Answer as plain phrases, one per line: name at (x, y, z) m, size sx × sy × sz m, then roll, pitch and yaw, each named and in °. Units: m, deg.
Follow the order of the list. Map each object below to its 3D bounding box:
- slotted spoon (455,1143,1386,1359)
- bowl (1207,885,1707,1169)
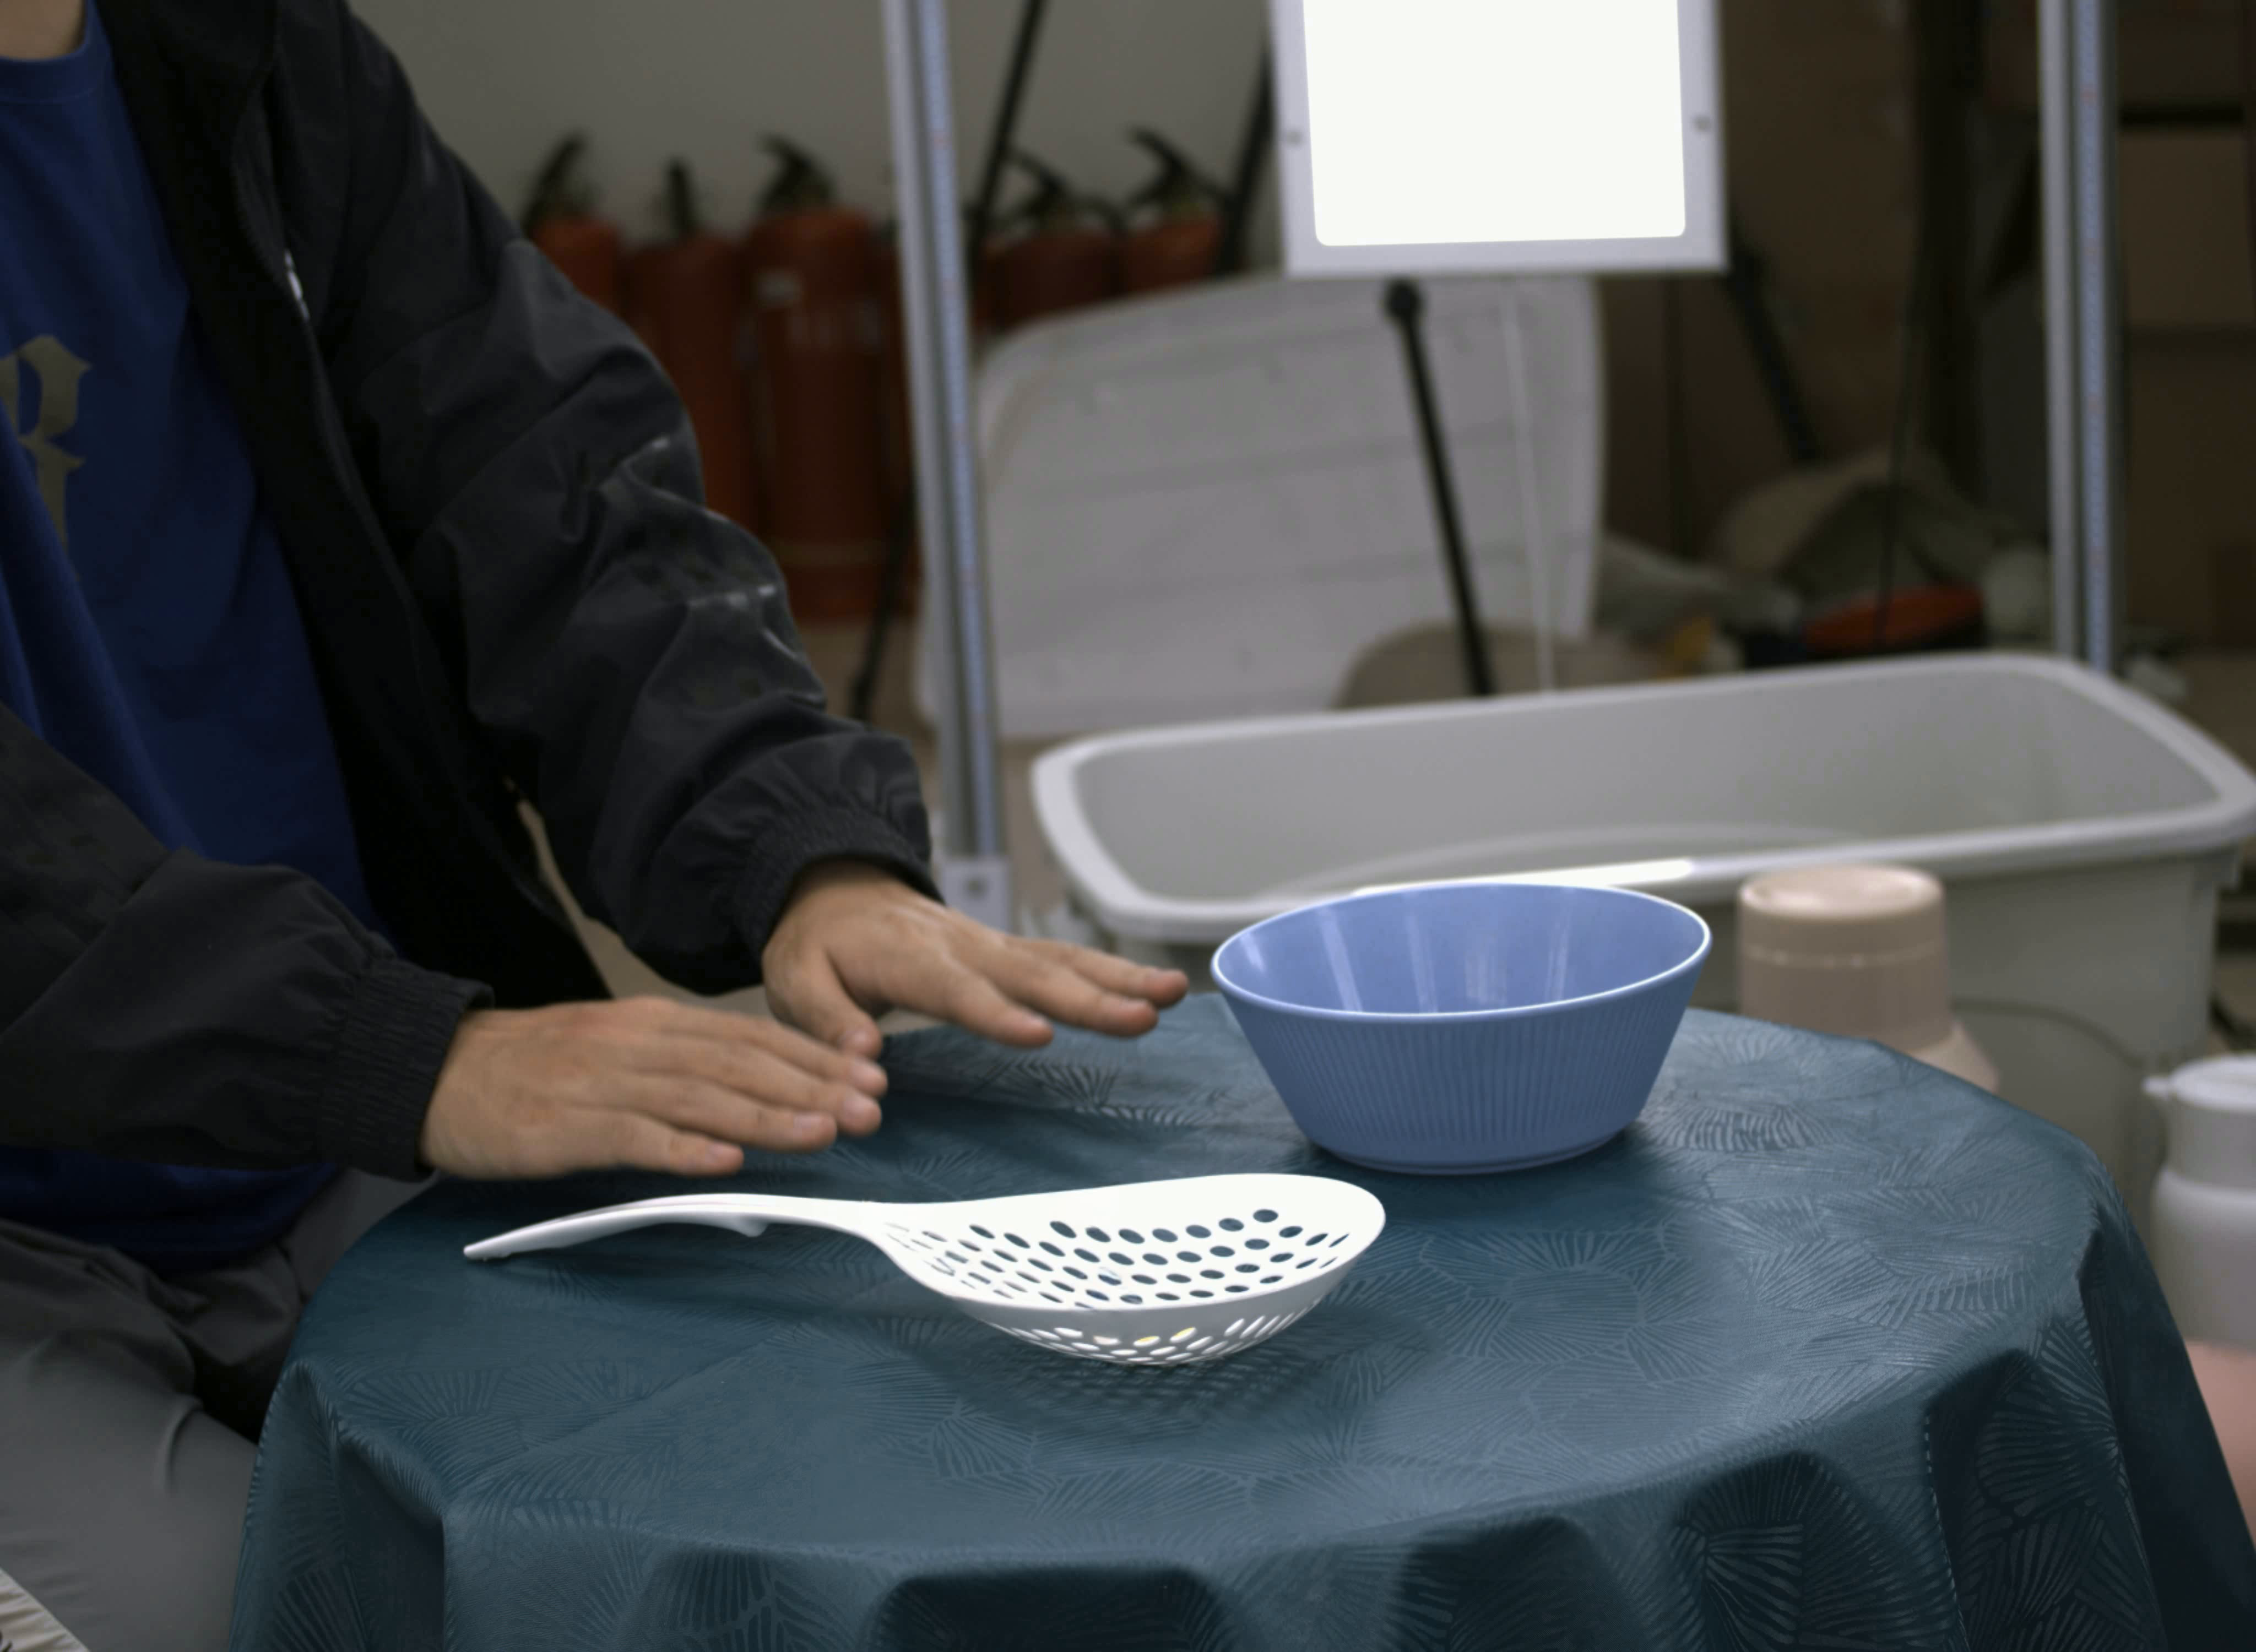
slotted spoon at (-0.077, 0.138, 1.790) m, size 0.355 × 0.050 × 0.133 m, roll 4°, pitch 20°, yaw 33°
bowl at (0.117, 0.072, 1.925) m, size 0.175 × 0.070 × 0.176 m, roll -5°, pitch 13°, yaw 0°
